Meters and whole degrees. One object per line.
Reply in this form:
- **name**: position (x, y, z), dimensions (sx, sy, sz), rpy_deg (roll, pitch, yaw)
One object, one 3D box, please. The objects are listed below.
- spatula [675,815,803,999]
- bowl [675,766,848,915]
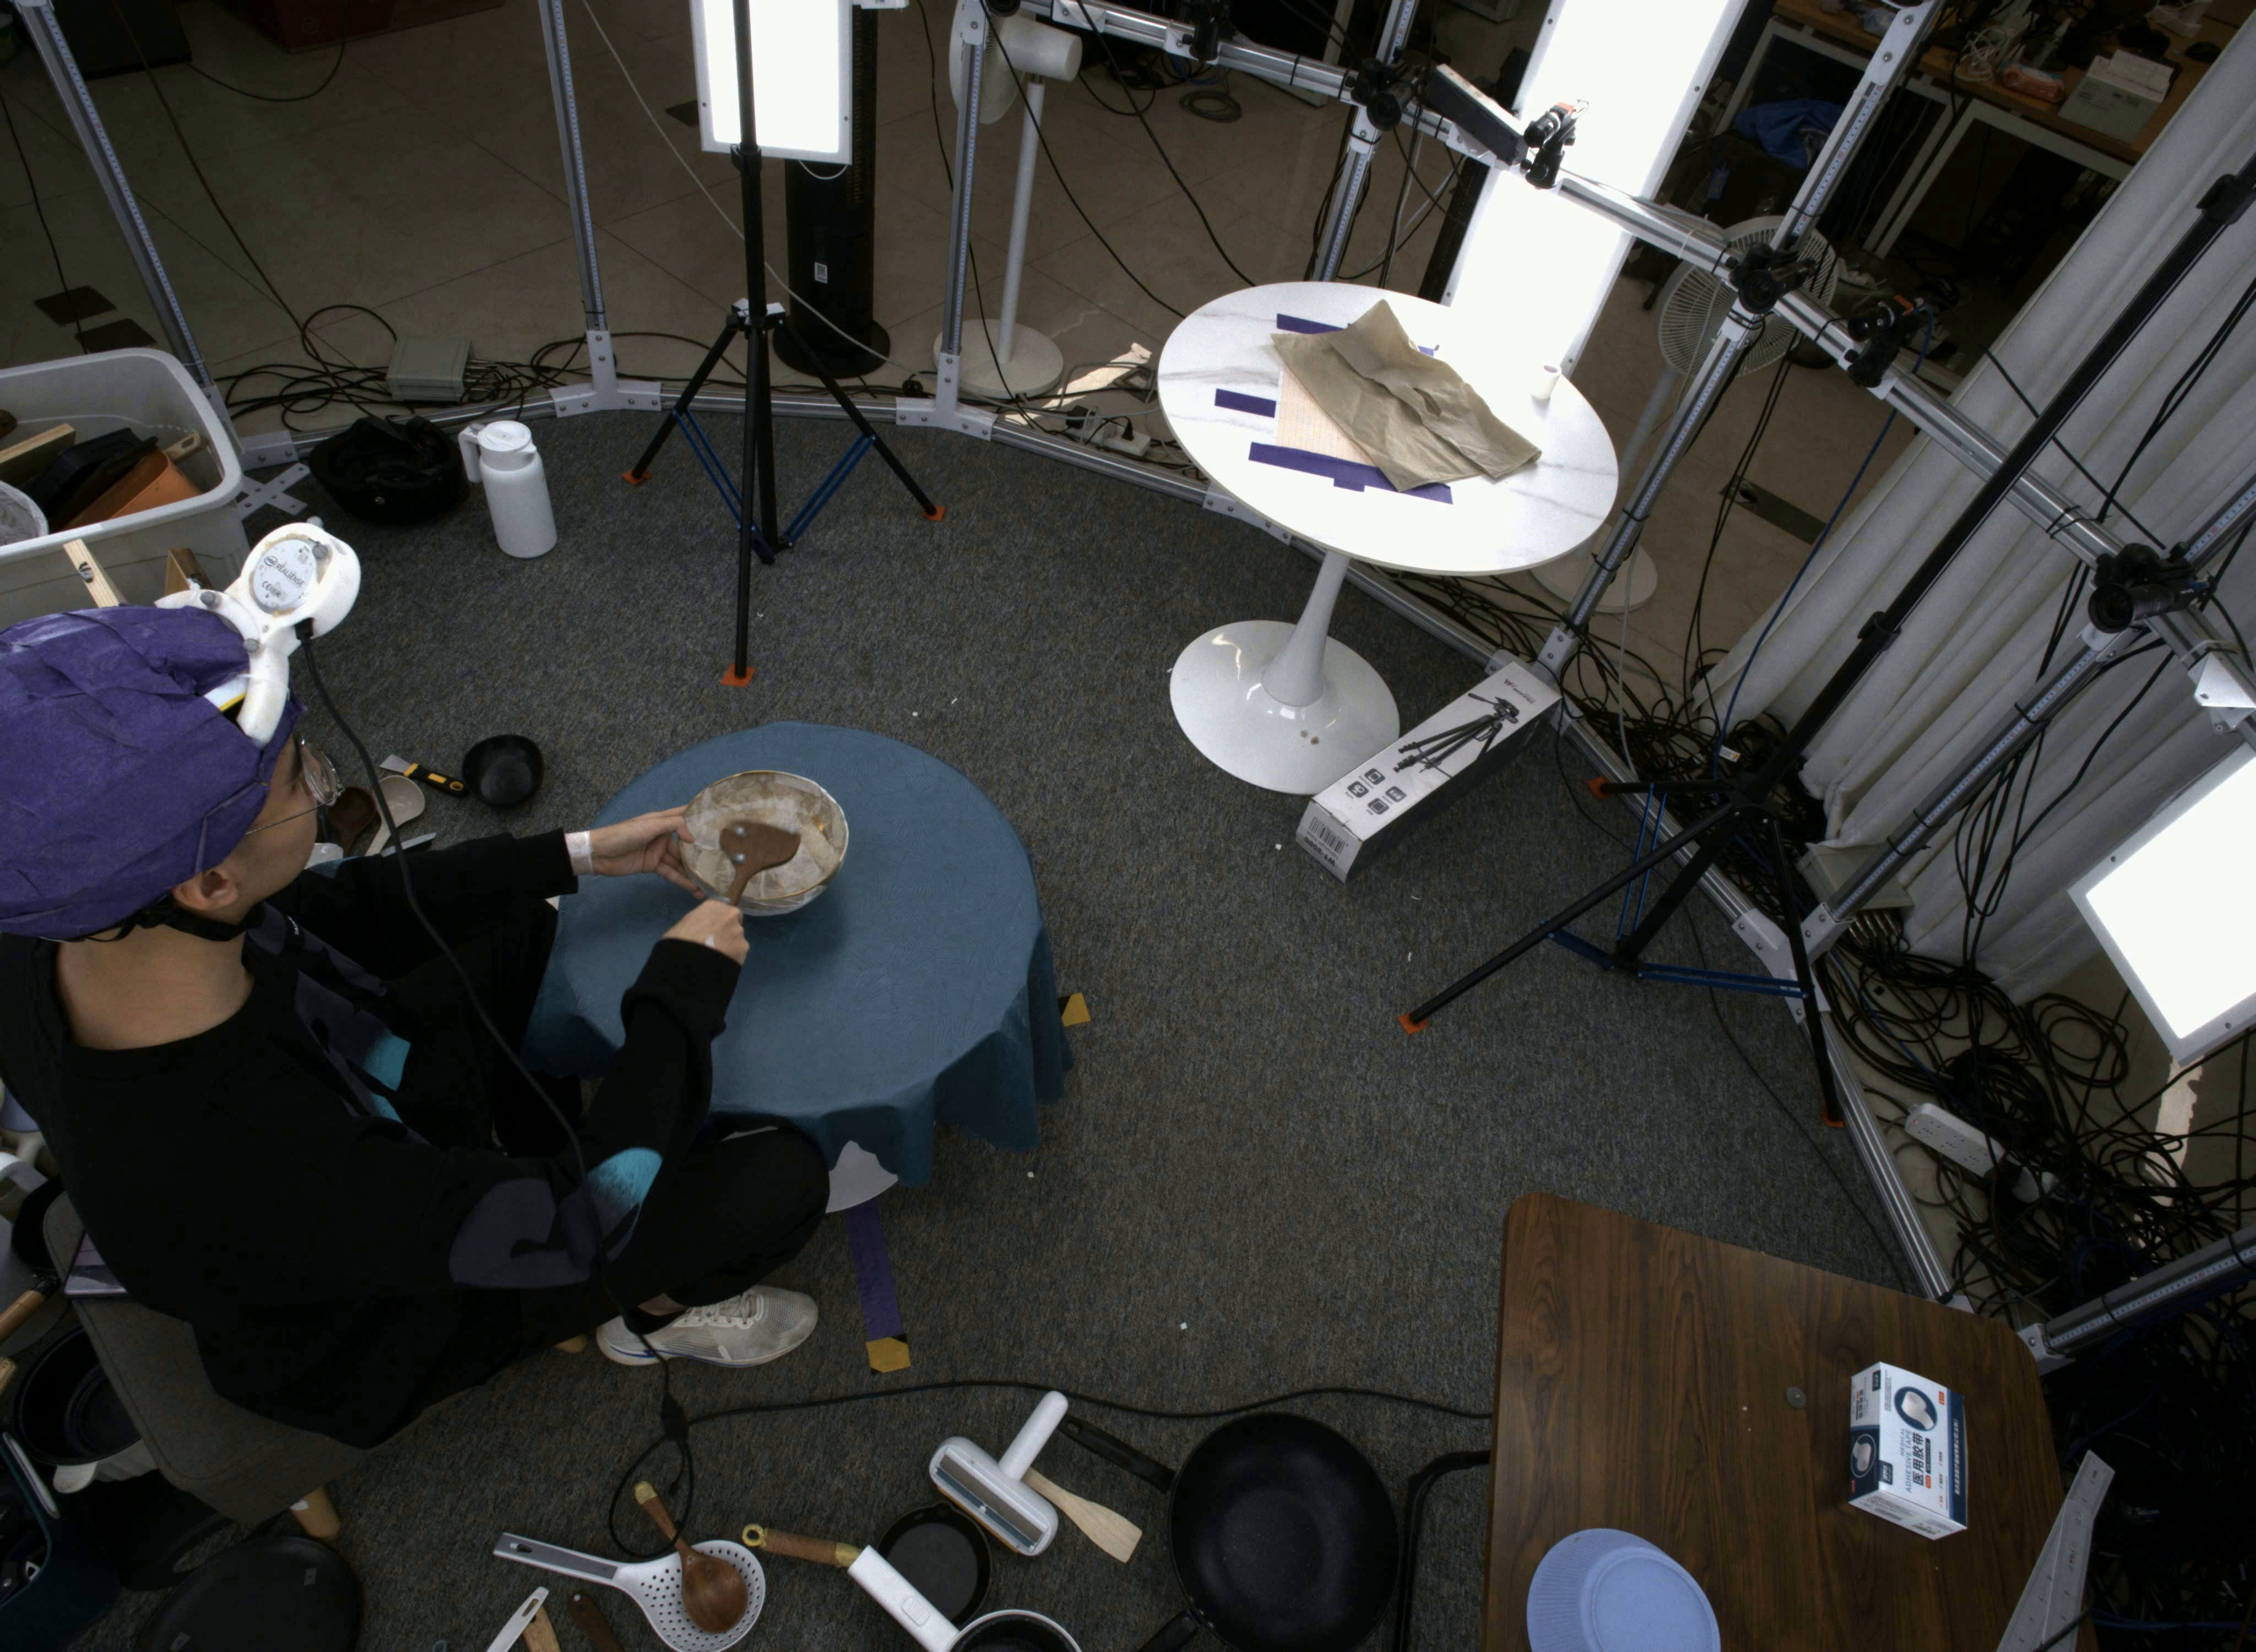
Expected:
- **spatula**: position (-0.438, 0.077, 1.425), dimensions (0.096, 0.016, 0.377), rpy_deg (14, 25, -9)
- **bowl**: position (-0.454, 0.032, 1.605), dimensions (0.215, 0.096, 0.211), rpy_deg (9, 53, -10)
